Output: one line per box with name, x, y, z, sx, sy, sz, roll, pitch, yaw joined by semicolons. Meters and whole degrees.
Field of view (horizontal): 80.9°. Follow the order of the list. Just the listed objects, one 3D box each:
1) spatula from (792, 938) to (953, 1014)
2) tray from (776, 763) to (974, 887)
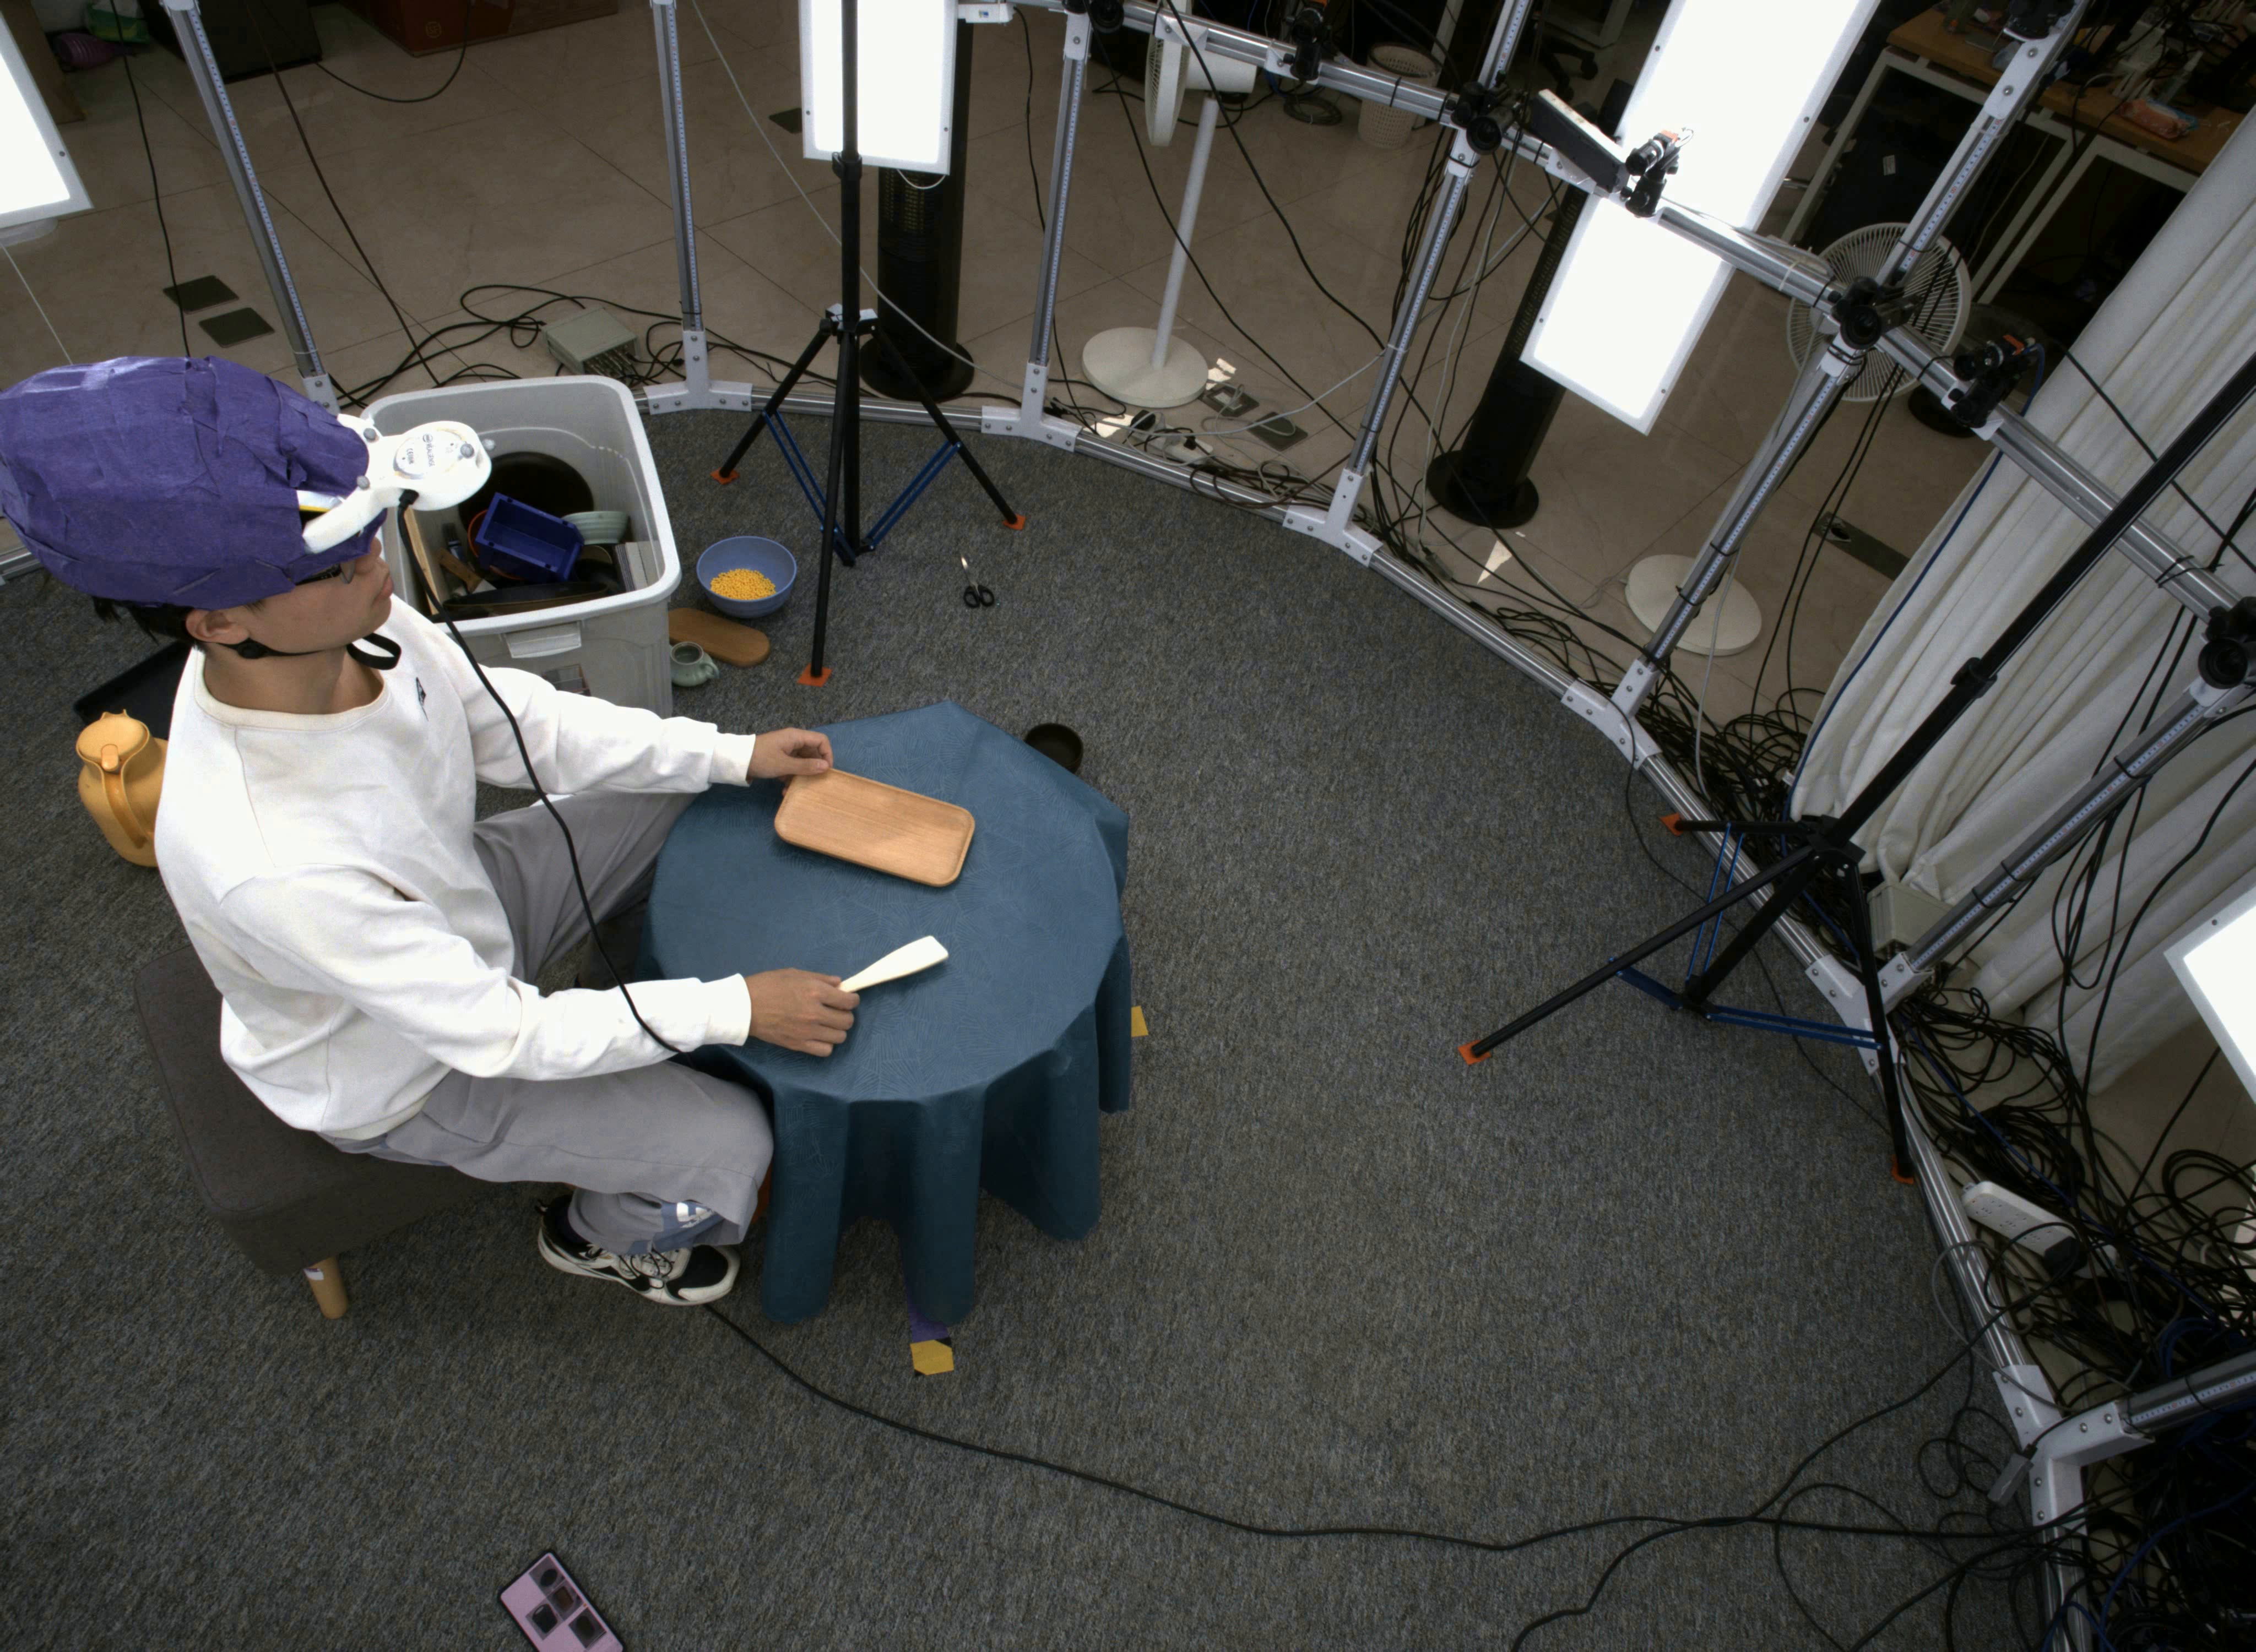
spatula;-0.316;0.185;1.603;0.209;0.005;0.049;-20;47;-31
tray;-0.335;-0.001;1.731;0.250;0.023;0.129;17;54;-5
